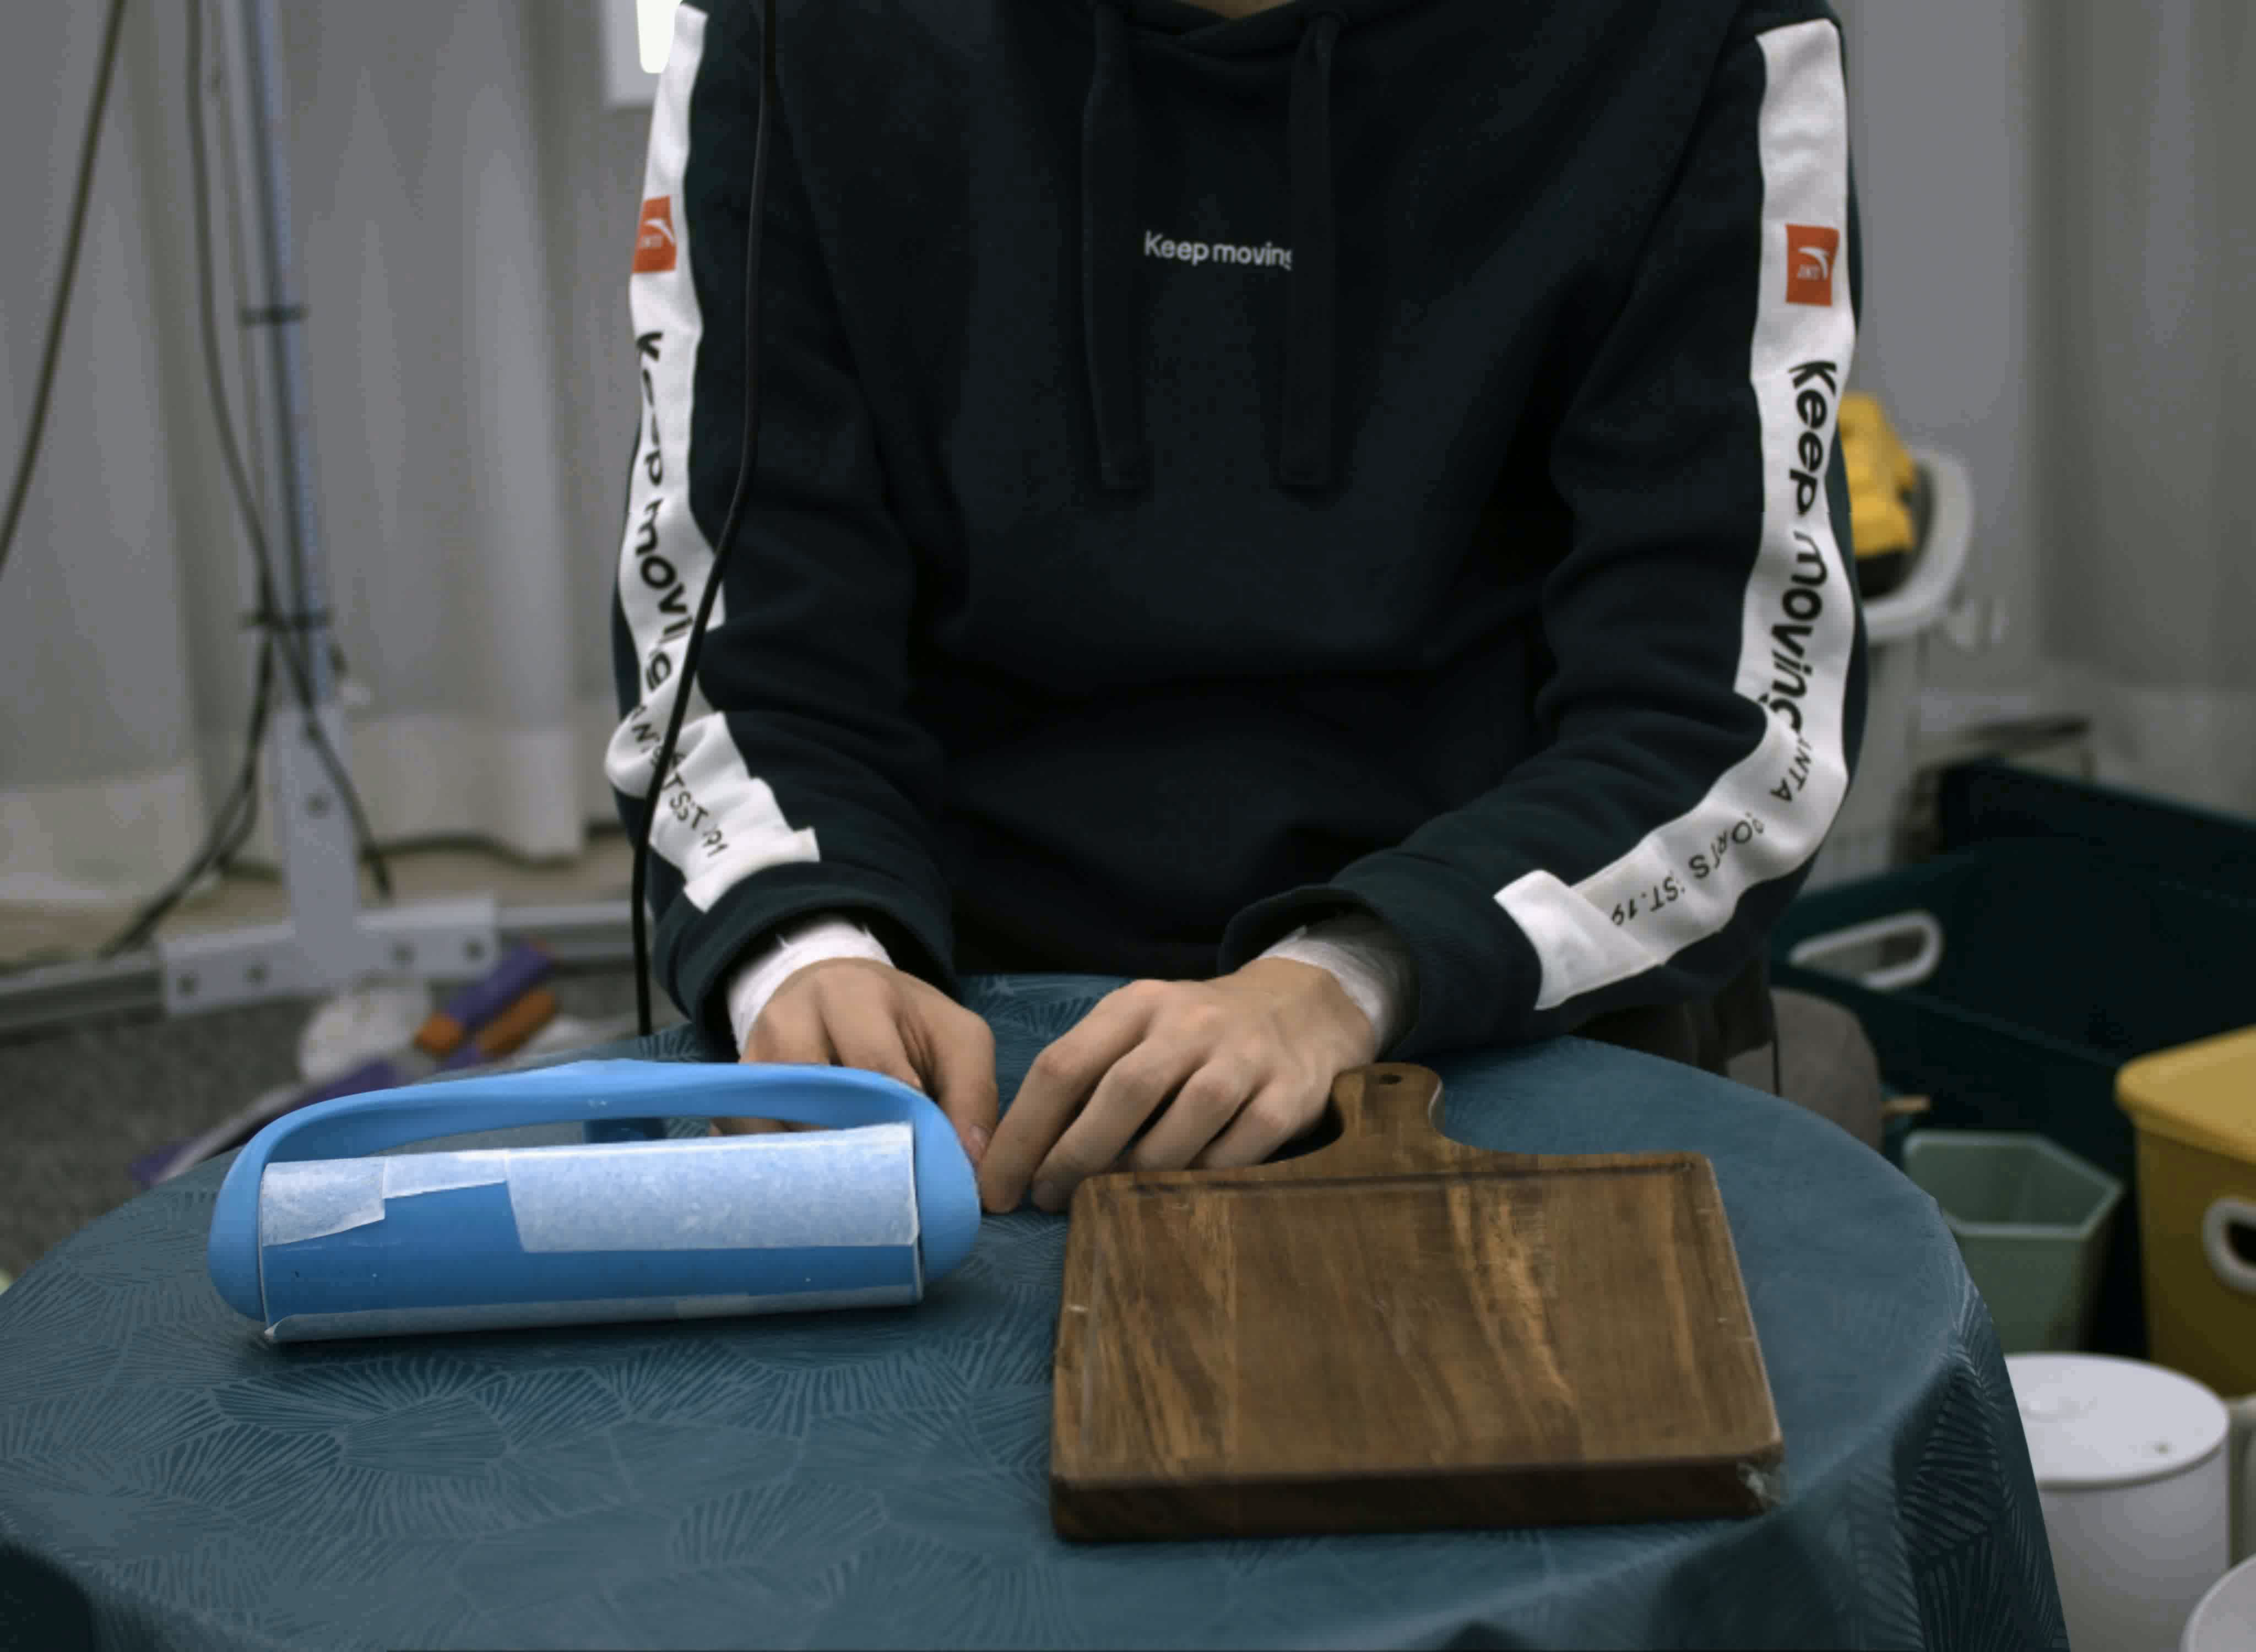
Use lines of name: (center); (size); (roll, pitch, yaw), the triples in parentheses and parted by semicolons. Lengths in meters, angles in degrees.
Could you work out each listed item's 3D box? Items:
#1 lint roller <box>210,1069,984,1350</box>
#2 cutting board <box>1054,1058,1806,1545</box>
lint roller: (-0.162, 0.105, 1.674); (0.228, 0.067, 0.181); (-5, 16, -3)
cutting board: (0.079, 0.131, 1.596); (0.200, 0.023, 0.354); (-2, 15, 1)
